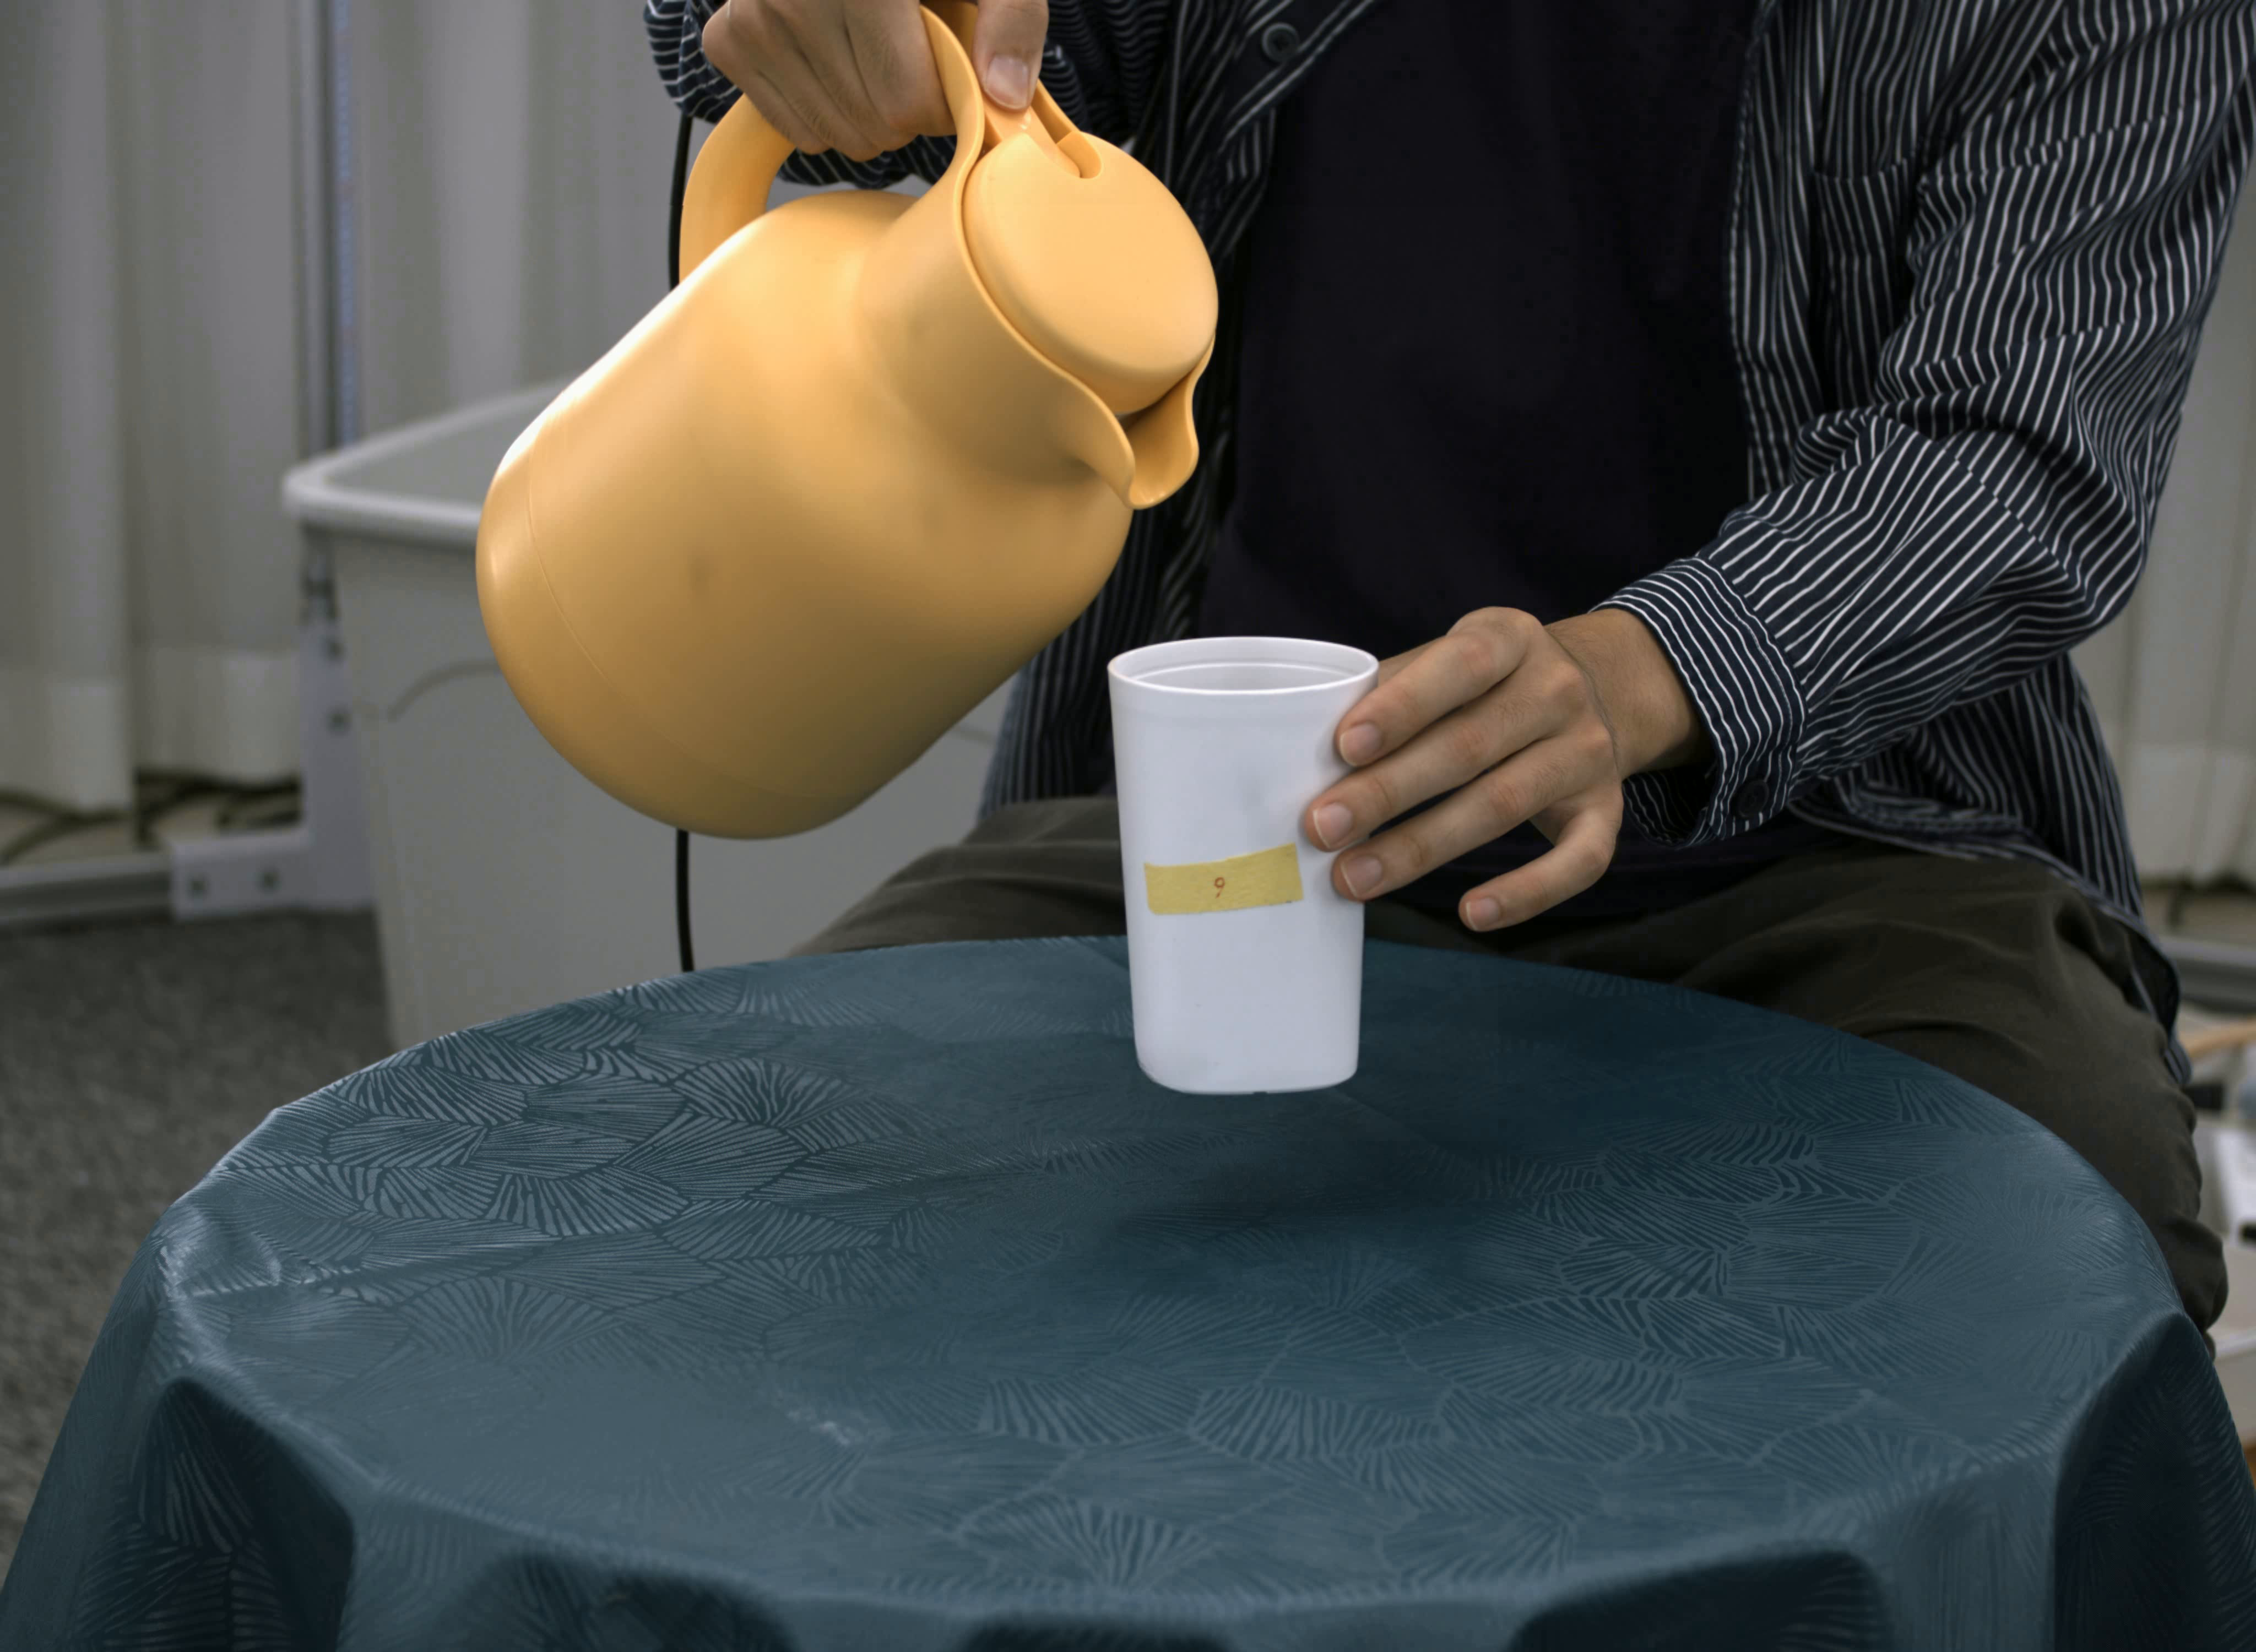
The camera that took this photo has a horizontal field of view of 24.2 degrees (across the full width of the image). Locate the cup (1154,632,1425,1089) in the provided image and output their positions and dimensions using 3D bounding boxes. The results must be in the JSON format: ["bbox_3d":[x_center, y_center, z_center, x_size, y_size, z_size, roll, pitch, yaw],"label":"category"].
[{"bbox_3d":[0.049,0.011,1.579,0.081,0.126,0.081,0,13,1],"label":"cup"}]

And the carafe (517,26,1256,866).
[{"bbox_3d":[-0.075,-0.124,1.652,0.164,0.201,0.260,-8,-21,-45],"label":"carafe"}]
